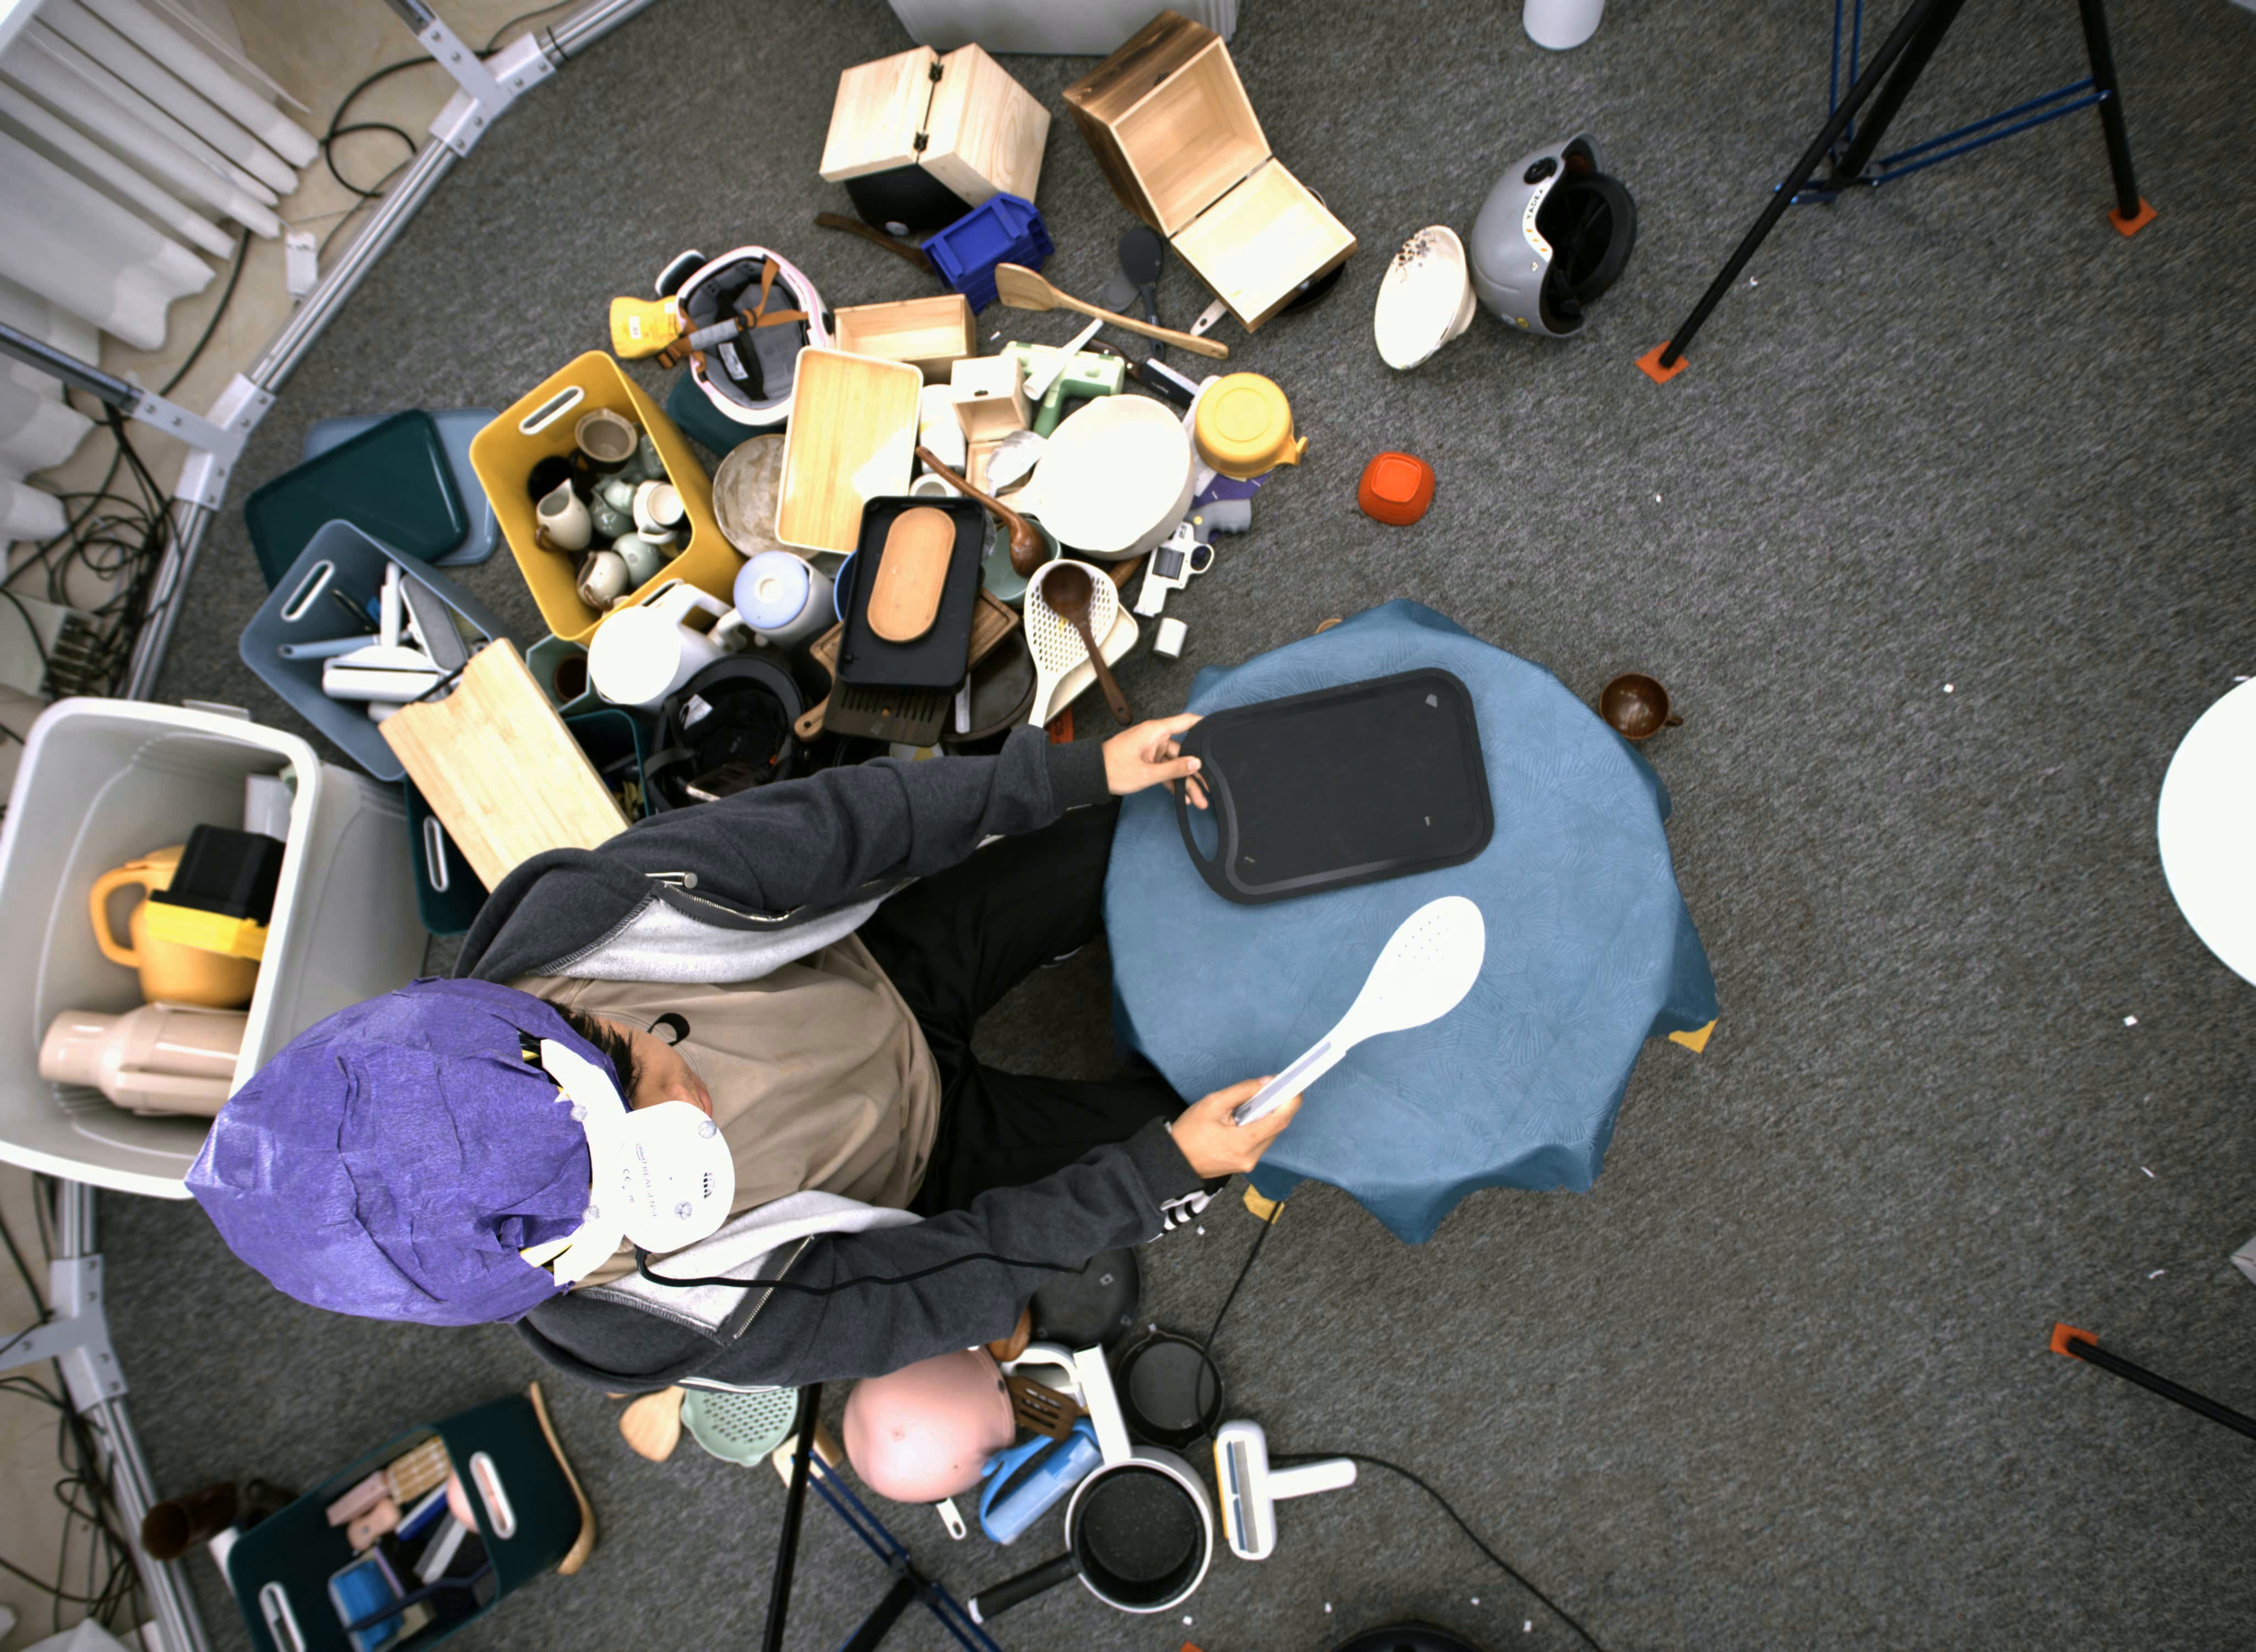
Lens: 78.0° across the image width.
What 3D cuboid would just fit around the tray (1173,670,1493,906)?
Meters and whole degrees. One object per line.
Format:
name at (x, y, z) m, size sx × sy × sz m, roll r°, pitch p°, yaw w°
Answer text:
tray at (0.211, -0.037, 1.439) m, size 0.326 × 0.010 × 0.212 m, roll -11°, pitch 98°, yaw 4°

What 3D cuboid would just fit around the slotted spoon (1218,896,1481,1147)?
slotted spoon at (0.206, 0.196, 1.311) m, size 0.046 × 0.133 × 0.356 m, roll 39°, pitch 115°, yaw -21°
